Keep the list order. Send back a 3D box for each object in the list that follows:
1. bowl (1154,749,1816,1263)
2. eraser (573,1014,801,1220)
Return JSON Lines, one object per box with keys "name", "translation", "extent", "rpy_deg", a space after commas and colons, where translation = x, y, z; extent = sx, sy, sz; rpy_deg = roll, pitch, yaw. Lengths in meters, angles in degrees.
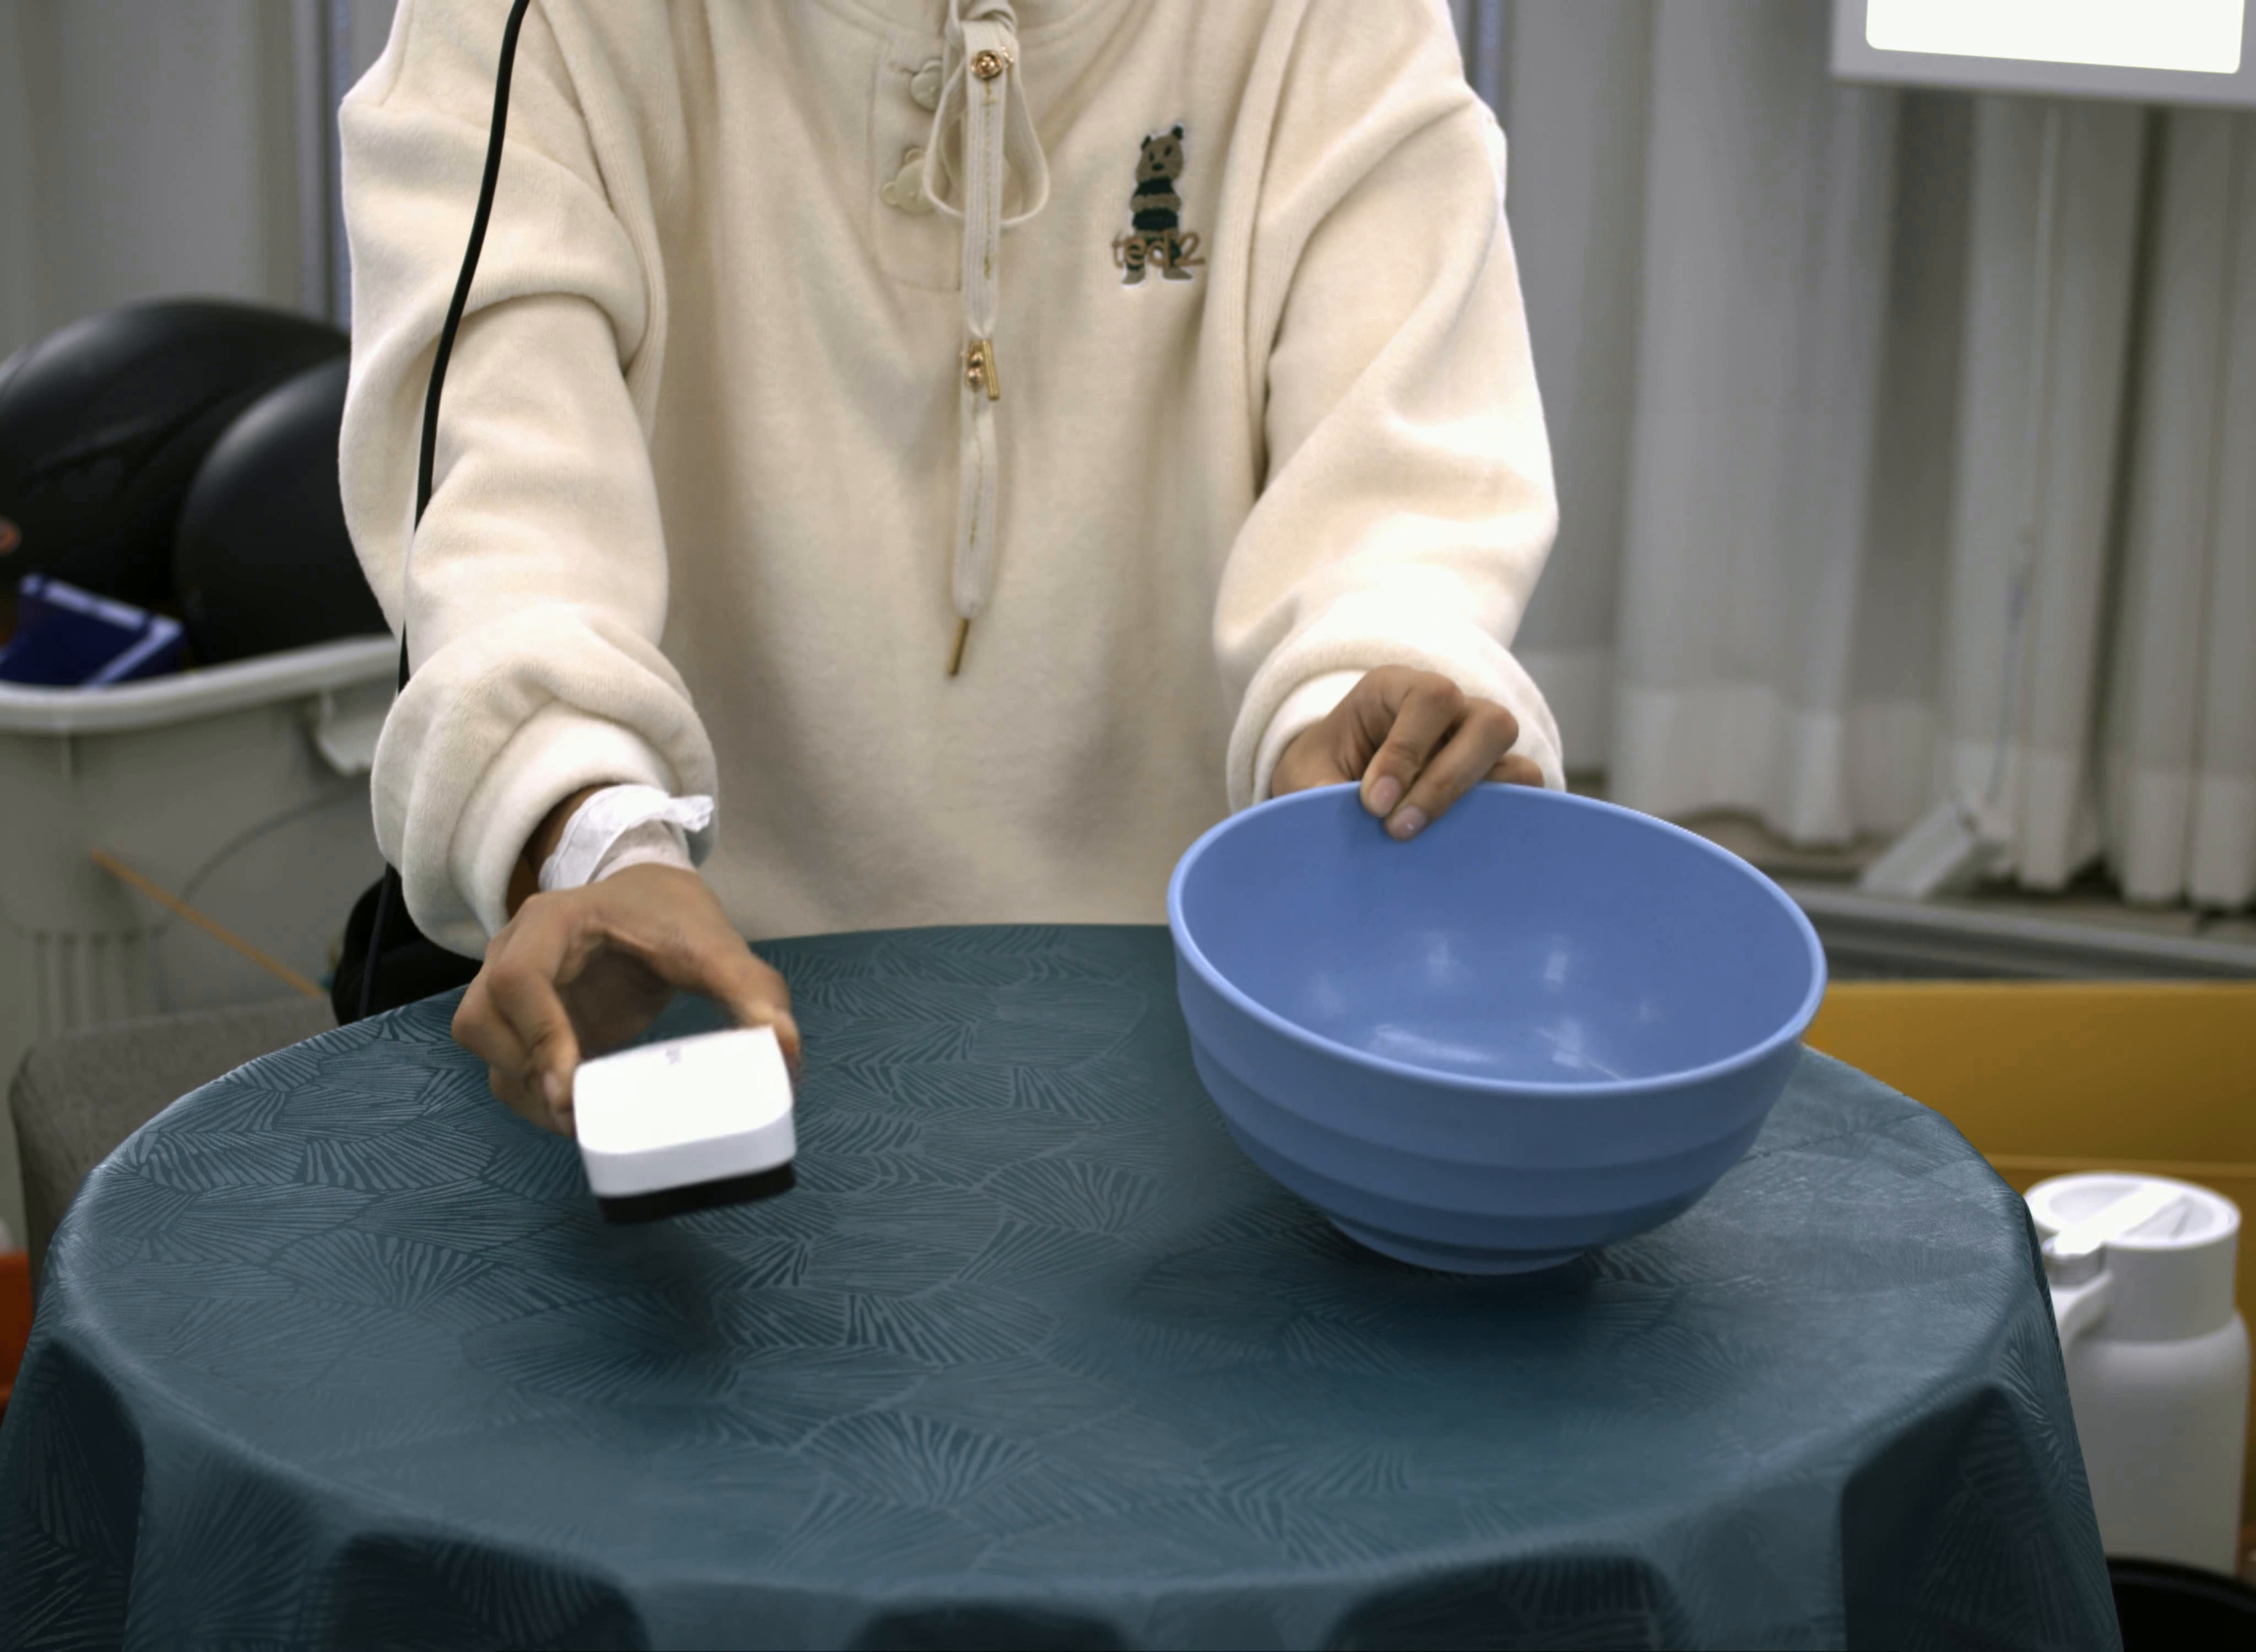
{"name": "bowl", "translation": [0.102, 0.066, 1.574], "extent": [0.196, 0.096, 0.195], "rpy_deg": [4, 31, -2]}
{"name": "eraser", "translation": [-0.125, 0.080, 1.507], "extent": [0.063, 0.035, 0.130], "rpy_deg": [-10, 11, -5]}
